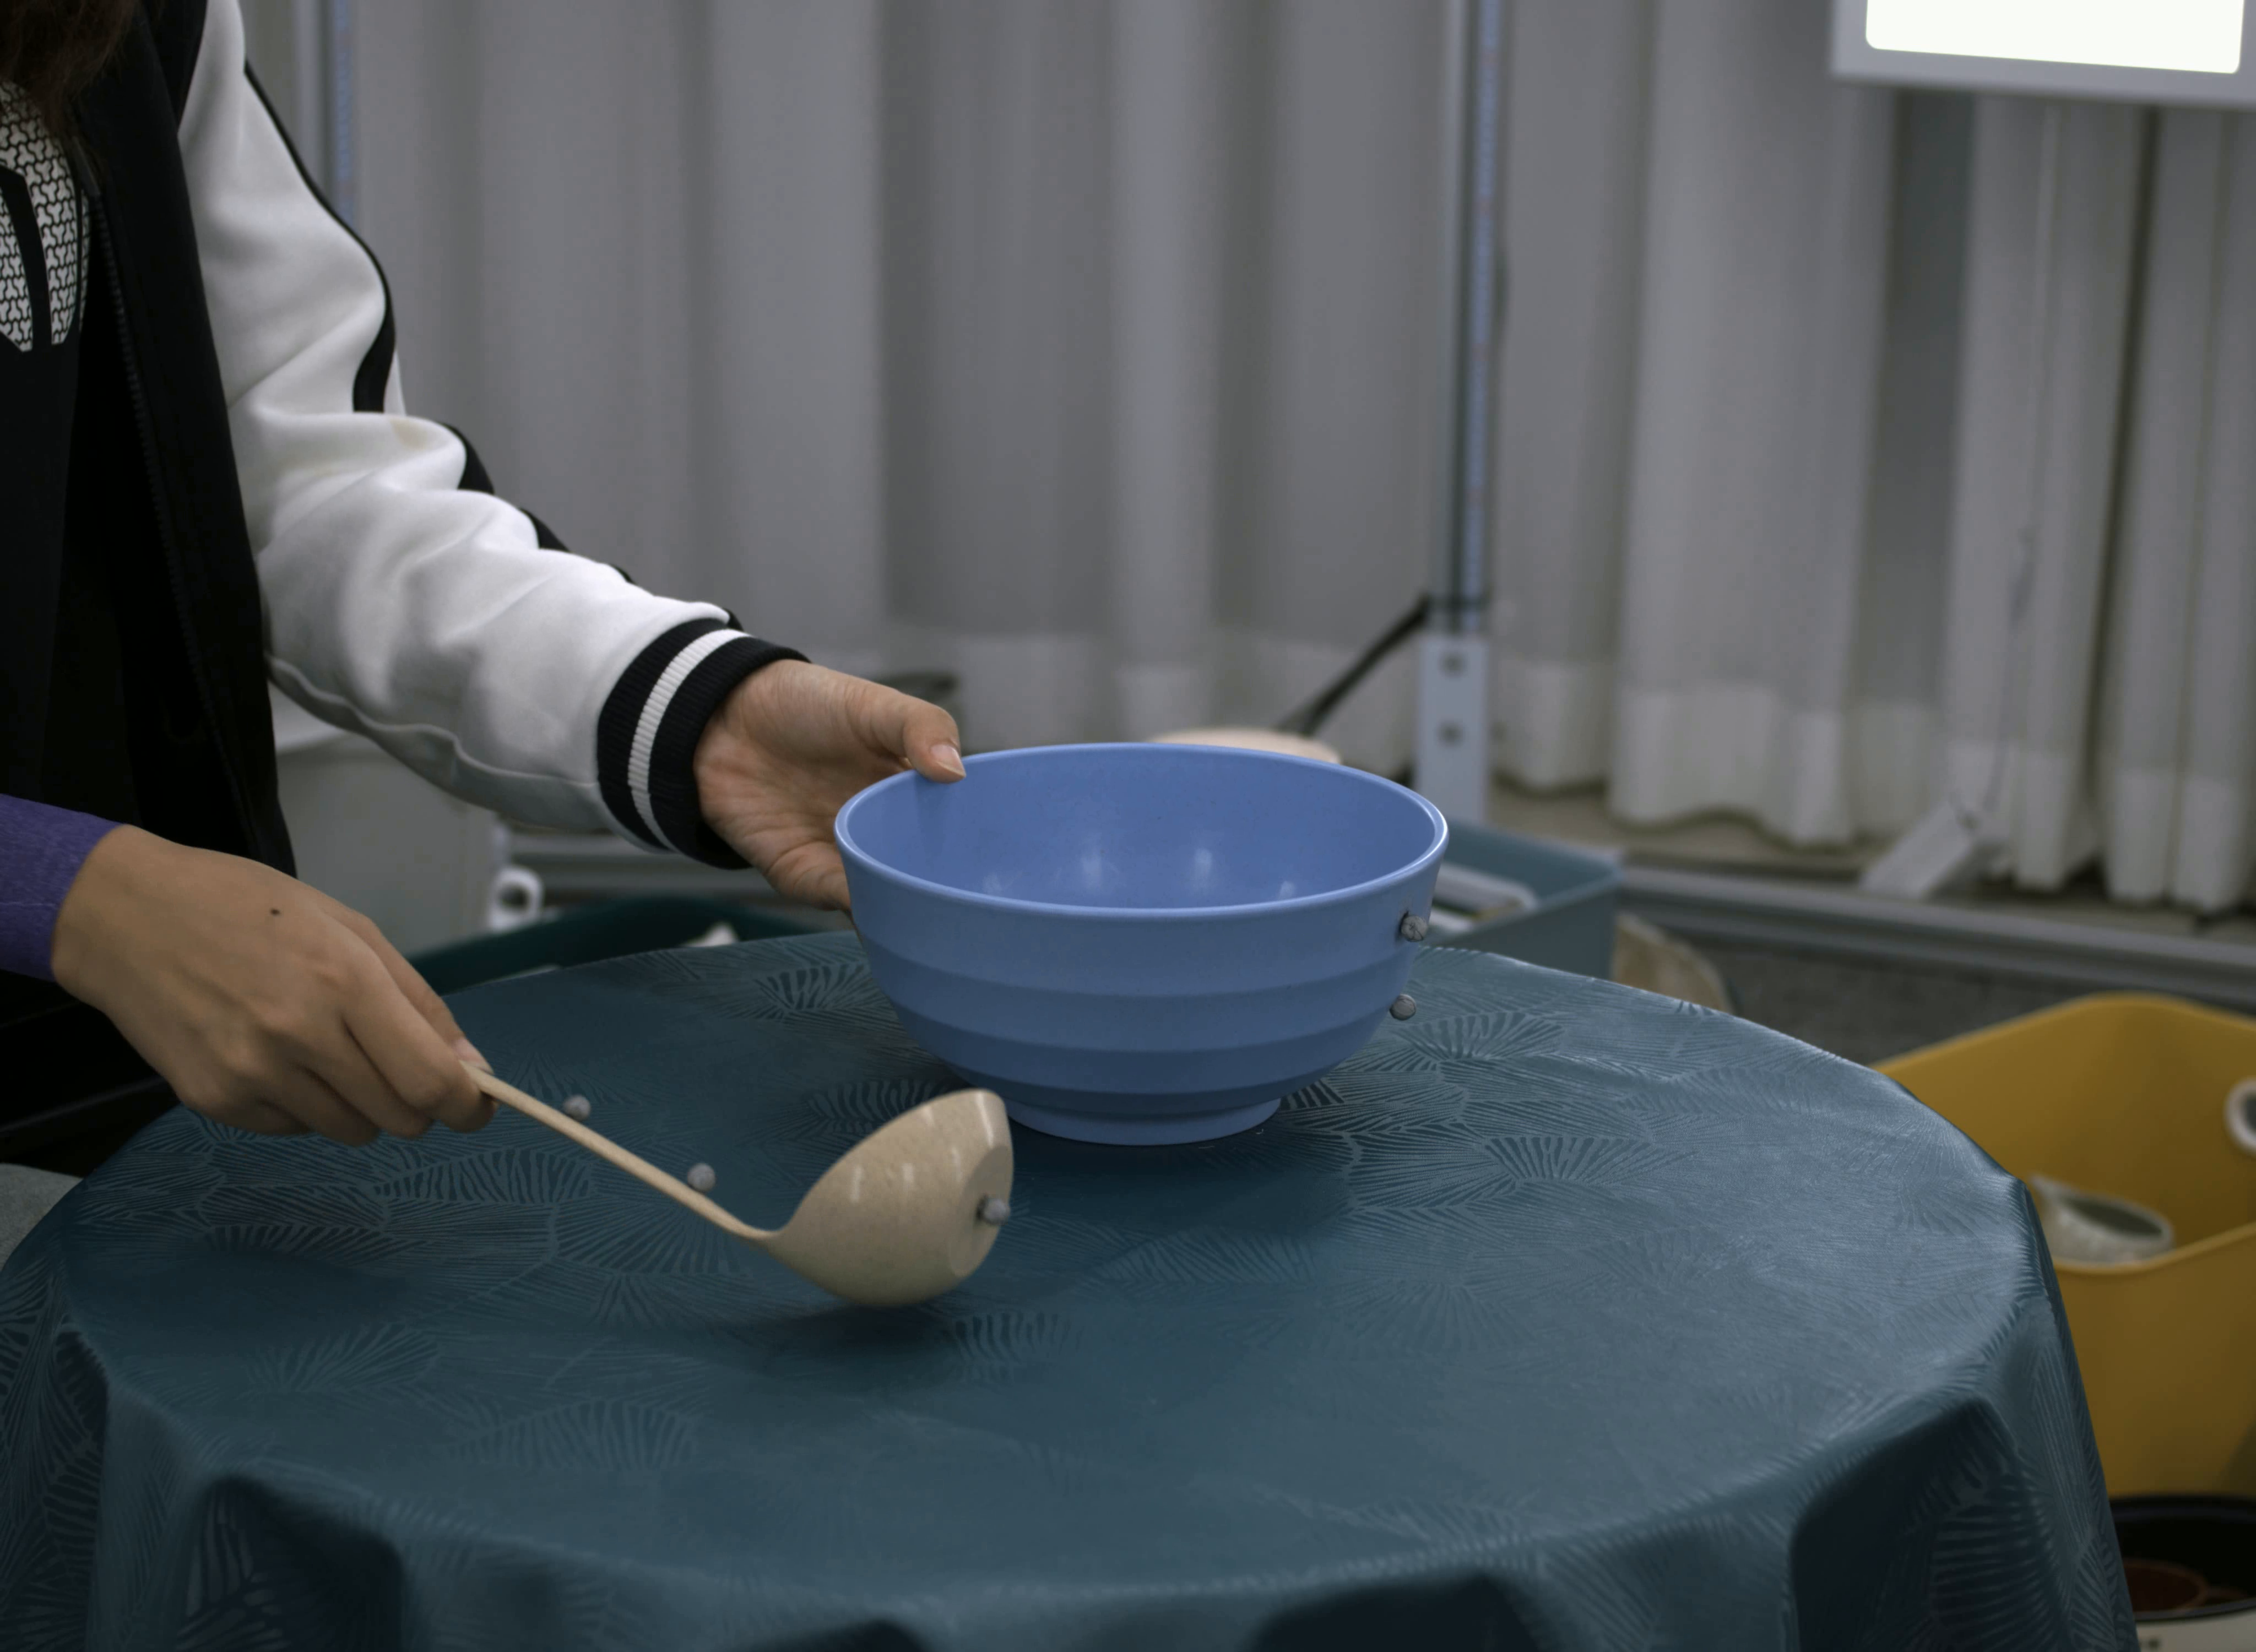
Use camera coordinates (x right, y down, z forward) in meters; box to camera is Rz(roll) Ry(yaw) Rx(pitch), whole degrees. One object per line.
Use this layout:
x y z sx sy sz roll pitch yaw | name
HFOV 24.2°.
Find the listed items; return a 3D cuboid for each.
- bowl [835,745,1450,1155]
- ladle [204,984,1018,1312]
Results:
0.005 0.046 1.690 0.196 0.096 0.195 0 17 0 | bowl
-0.149 0.067 1.533 0.252 0.073 0.073 24 -13 19 | ladle
